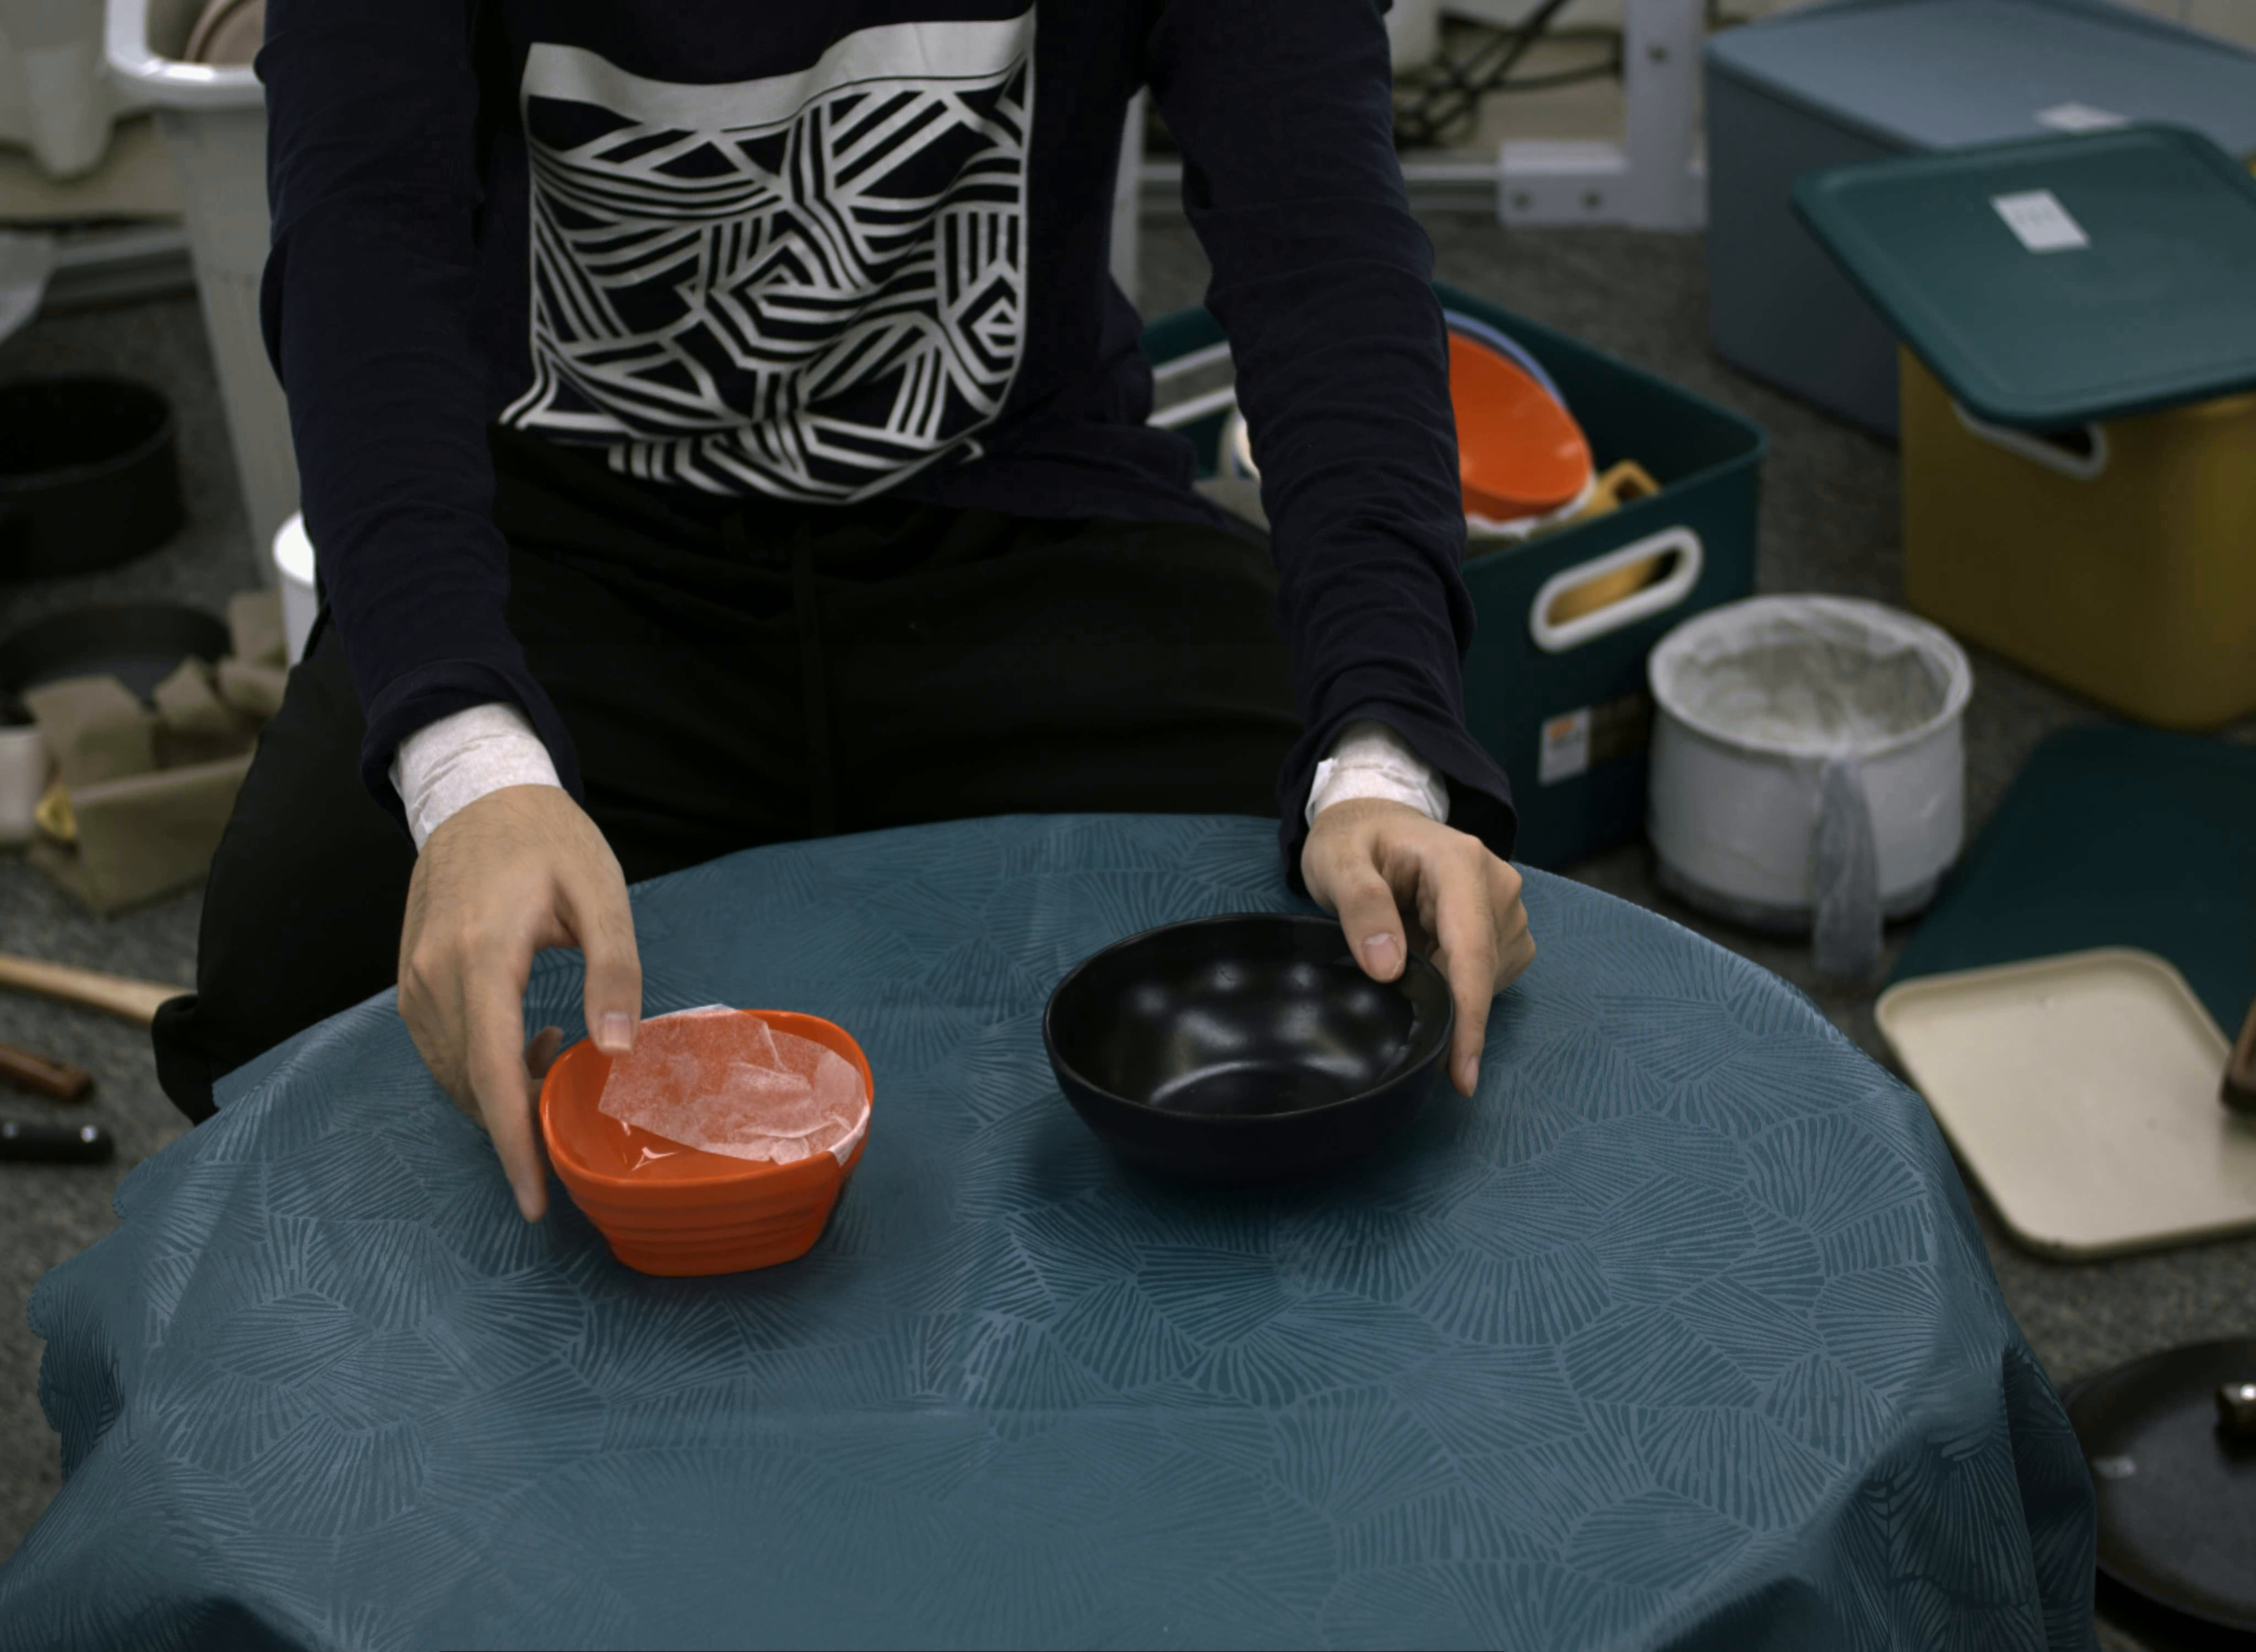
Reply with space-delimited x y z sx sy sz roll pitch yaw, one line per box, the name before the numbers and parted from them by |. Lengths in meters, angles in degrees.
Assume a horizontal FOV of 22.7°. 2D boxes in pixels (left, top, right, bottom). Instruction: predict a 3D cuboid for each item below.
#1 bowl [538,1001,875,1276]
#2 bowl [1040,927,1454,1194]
bowl | -0.136 0.108 1.844 0.118 0.051 0.121 -3 29 2
bowl | 0.041 0.085 1.880 0.139 0.049 0.142 -3 23 2
